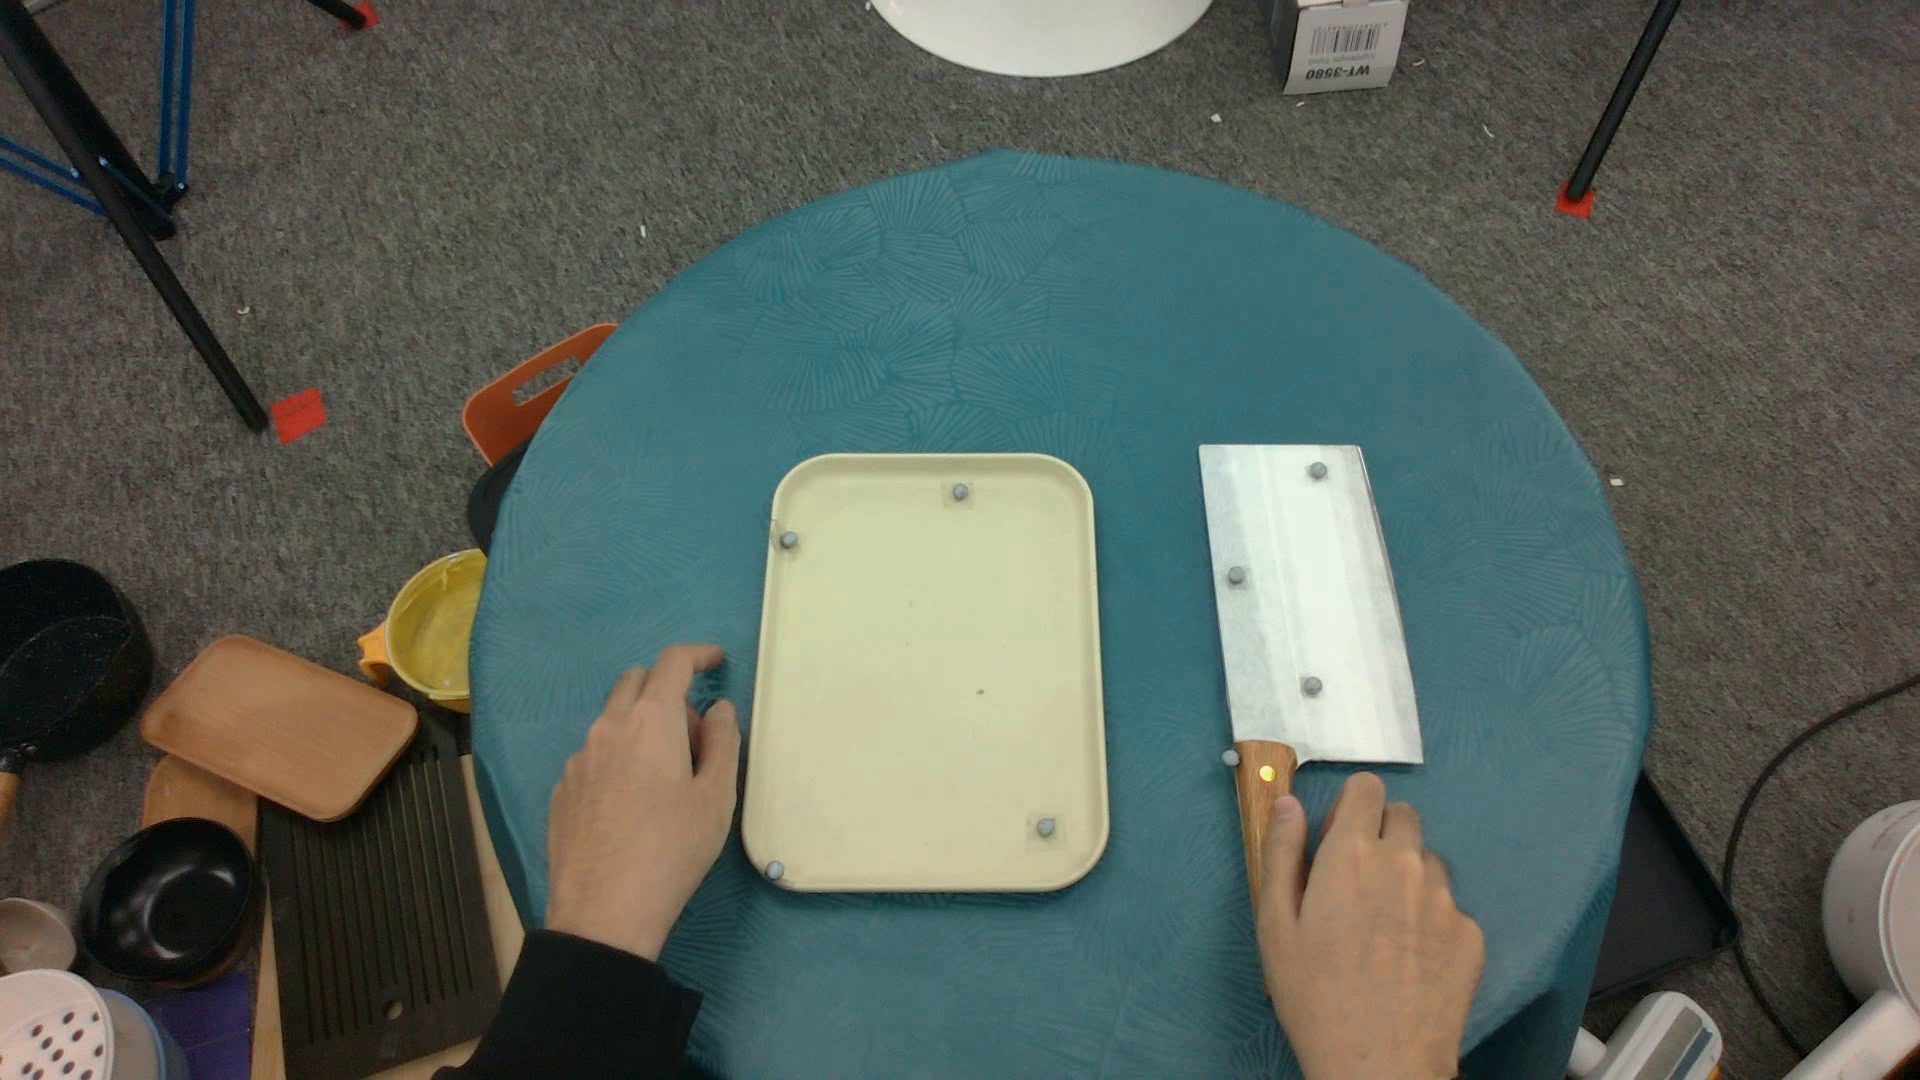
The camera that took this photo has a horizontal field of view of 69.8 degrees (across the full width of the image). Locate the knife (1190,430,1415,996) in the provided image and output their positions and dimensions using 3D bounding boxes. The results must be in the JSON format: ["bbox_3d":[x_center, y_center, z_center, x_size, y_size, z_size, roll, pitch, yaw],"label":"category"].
[{"bbox_3d":[0.171,0.067,0.674,0.093,0.021,0.307,0,56,-1],"label":"knife"}]

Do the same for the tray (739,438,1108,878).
[{"bbox_3d":[-0.017,0.051,0.683,0.171,0.017,0.240,0,58,-1],"label":"tray"}]
